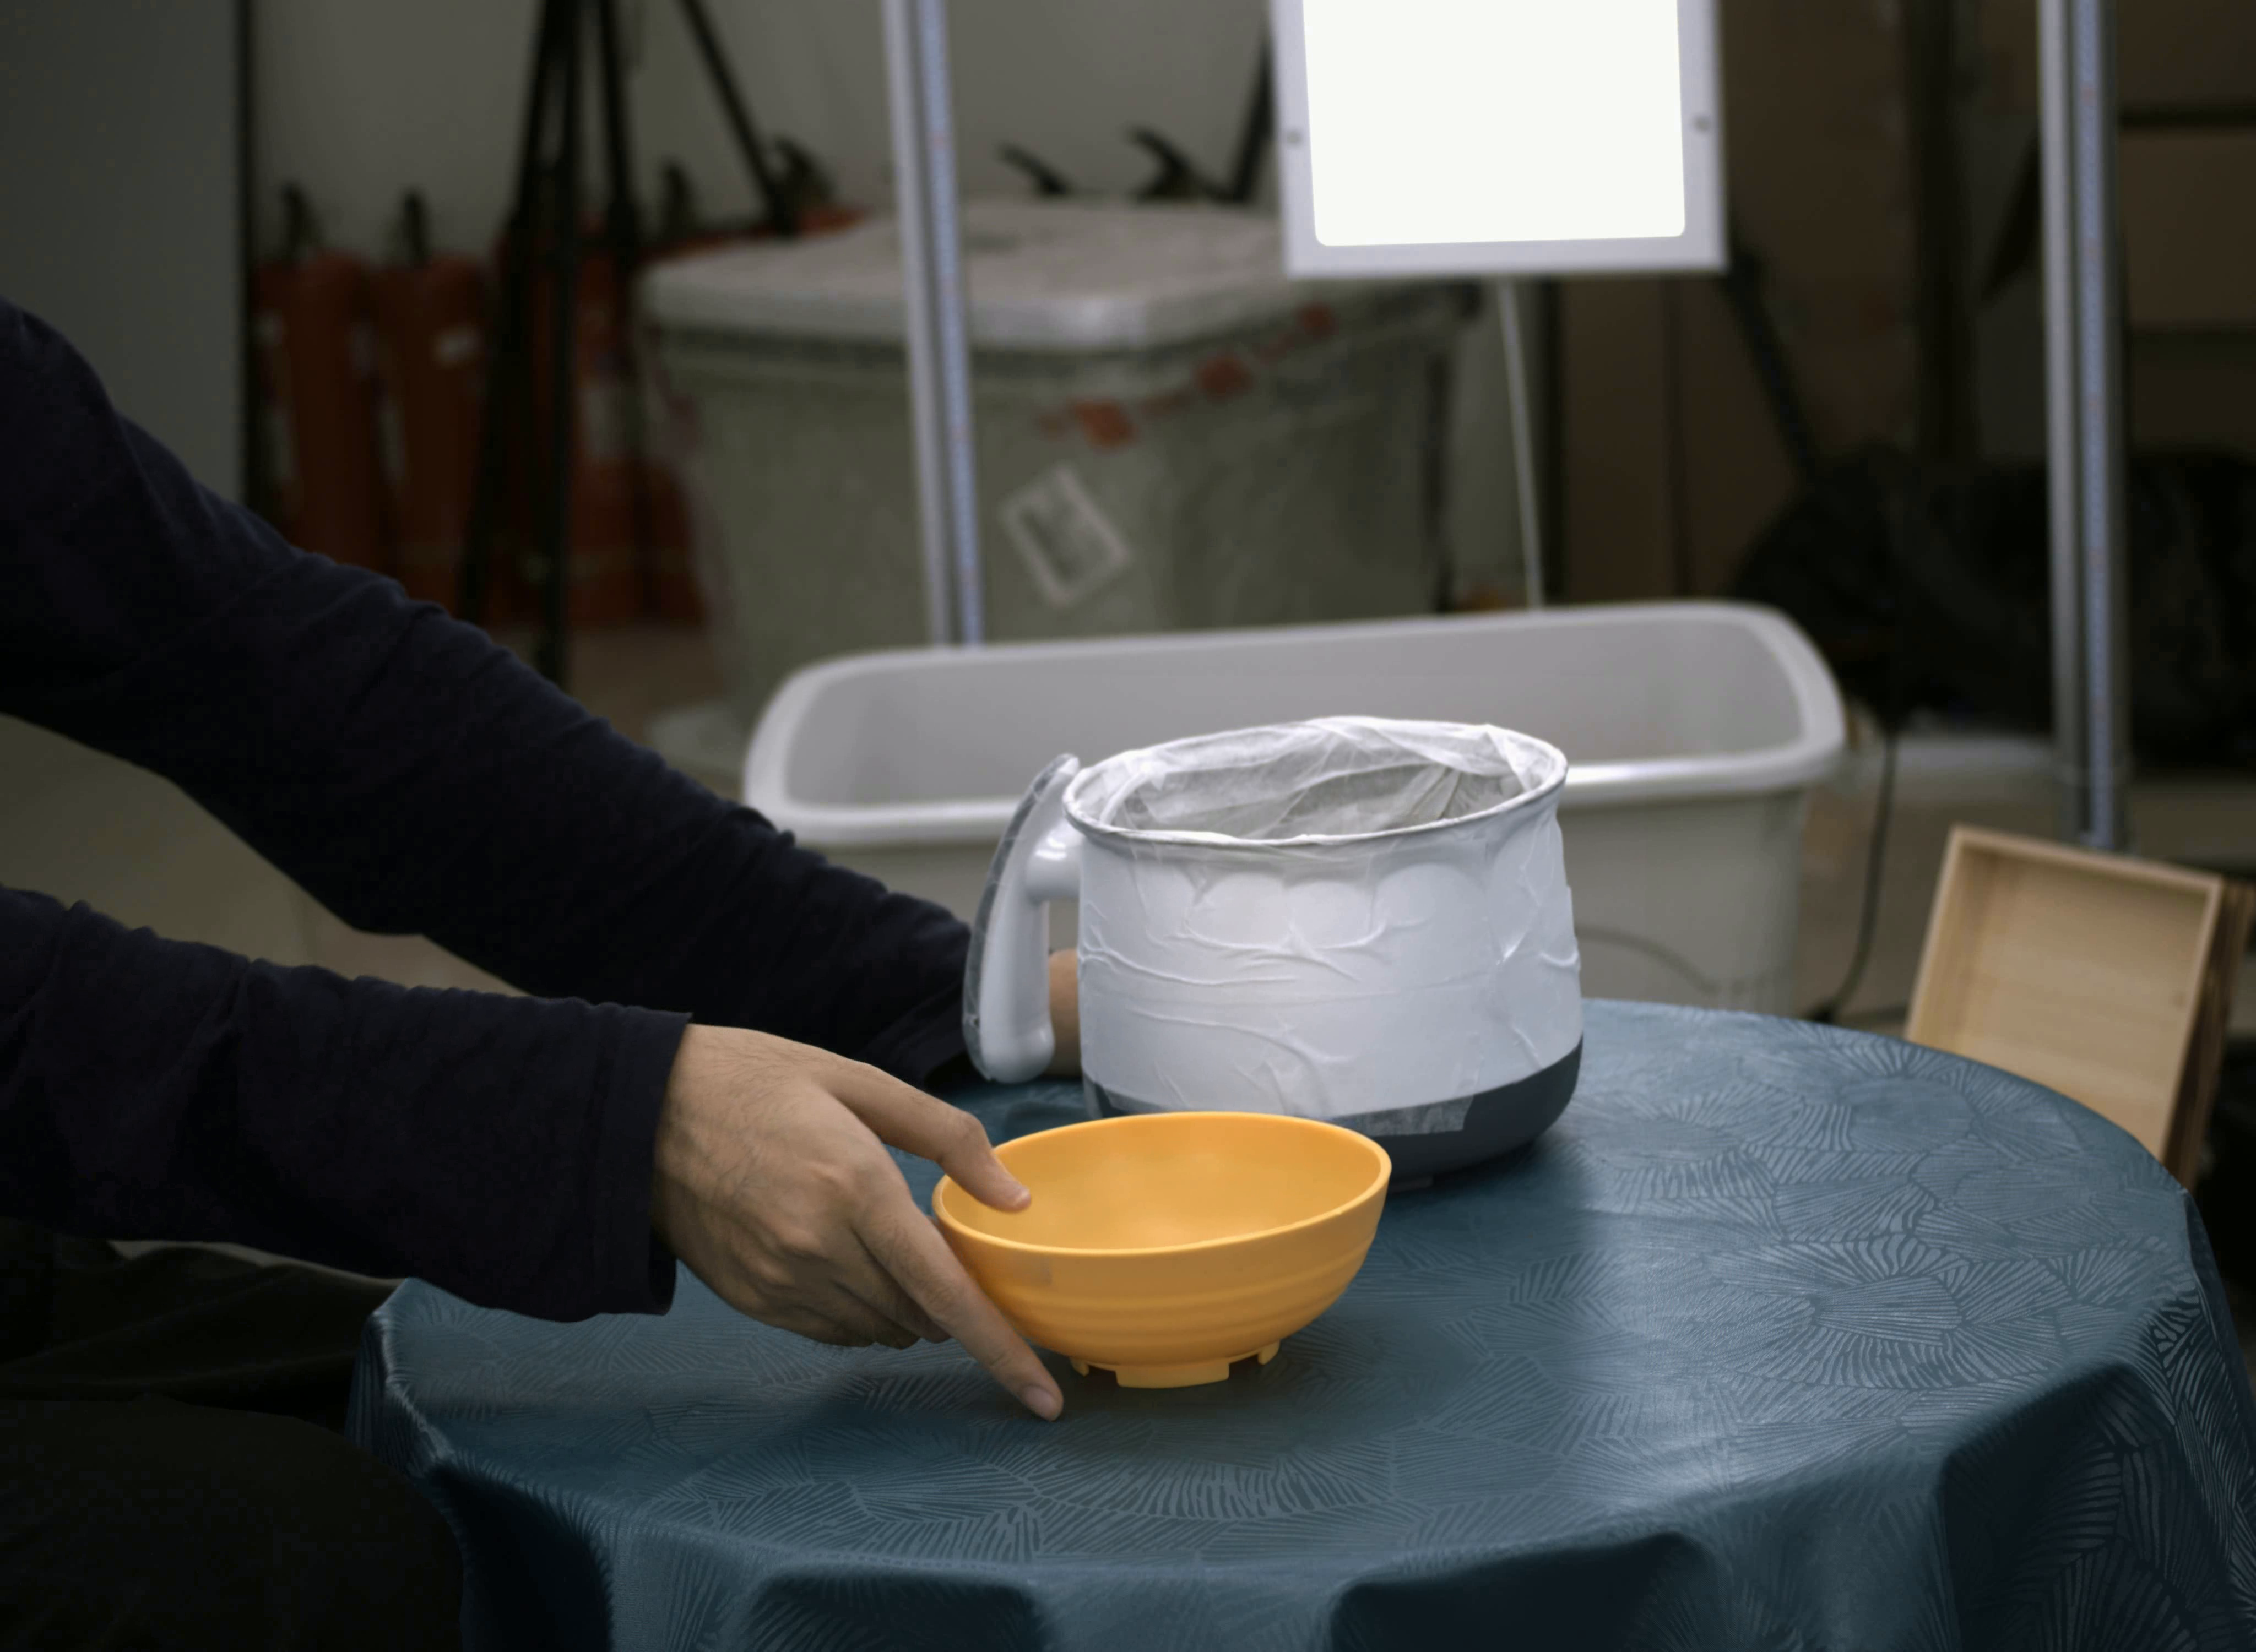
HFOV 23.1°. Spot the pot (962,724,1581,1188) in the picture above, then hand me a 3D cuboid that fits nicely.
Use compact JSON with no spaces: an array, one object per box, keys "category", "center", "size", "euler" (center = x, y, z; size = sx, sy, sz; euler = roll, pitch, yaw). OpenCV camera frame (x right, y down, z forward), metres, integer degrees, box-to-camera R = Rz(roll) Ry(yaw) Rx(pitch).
[{"category":"pot","center":[0.046,0.042,1.938],"size":[0.238,0.137,0.175],"euler":[4,13,28]}]

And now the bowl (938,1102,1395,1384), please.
[{"category":"bowl","center":[0.015,0.136,1.727],"size":[0.145,0.060,0.145],"euler":[-7,14,0]}]
